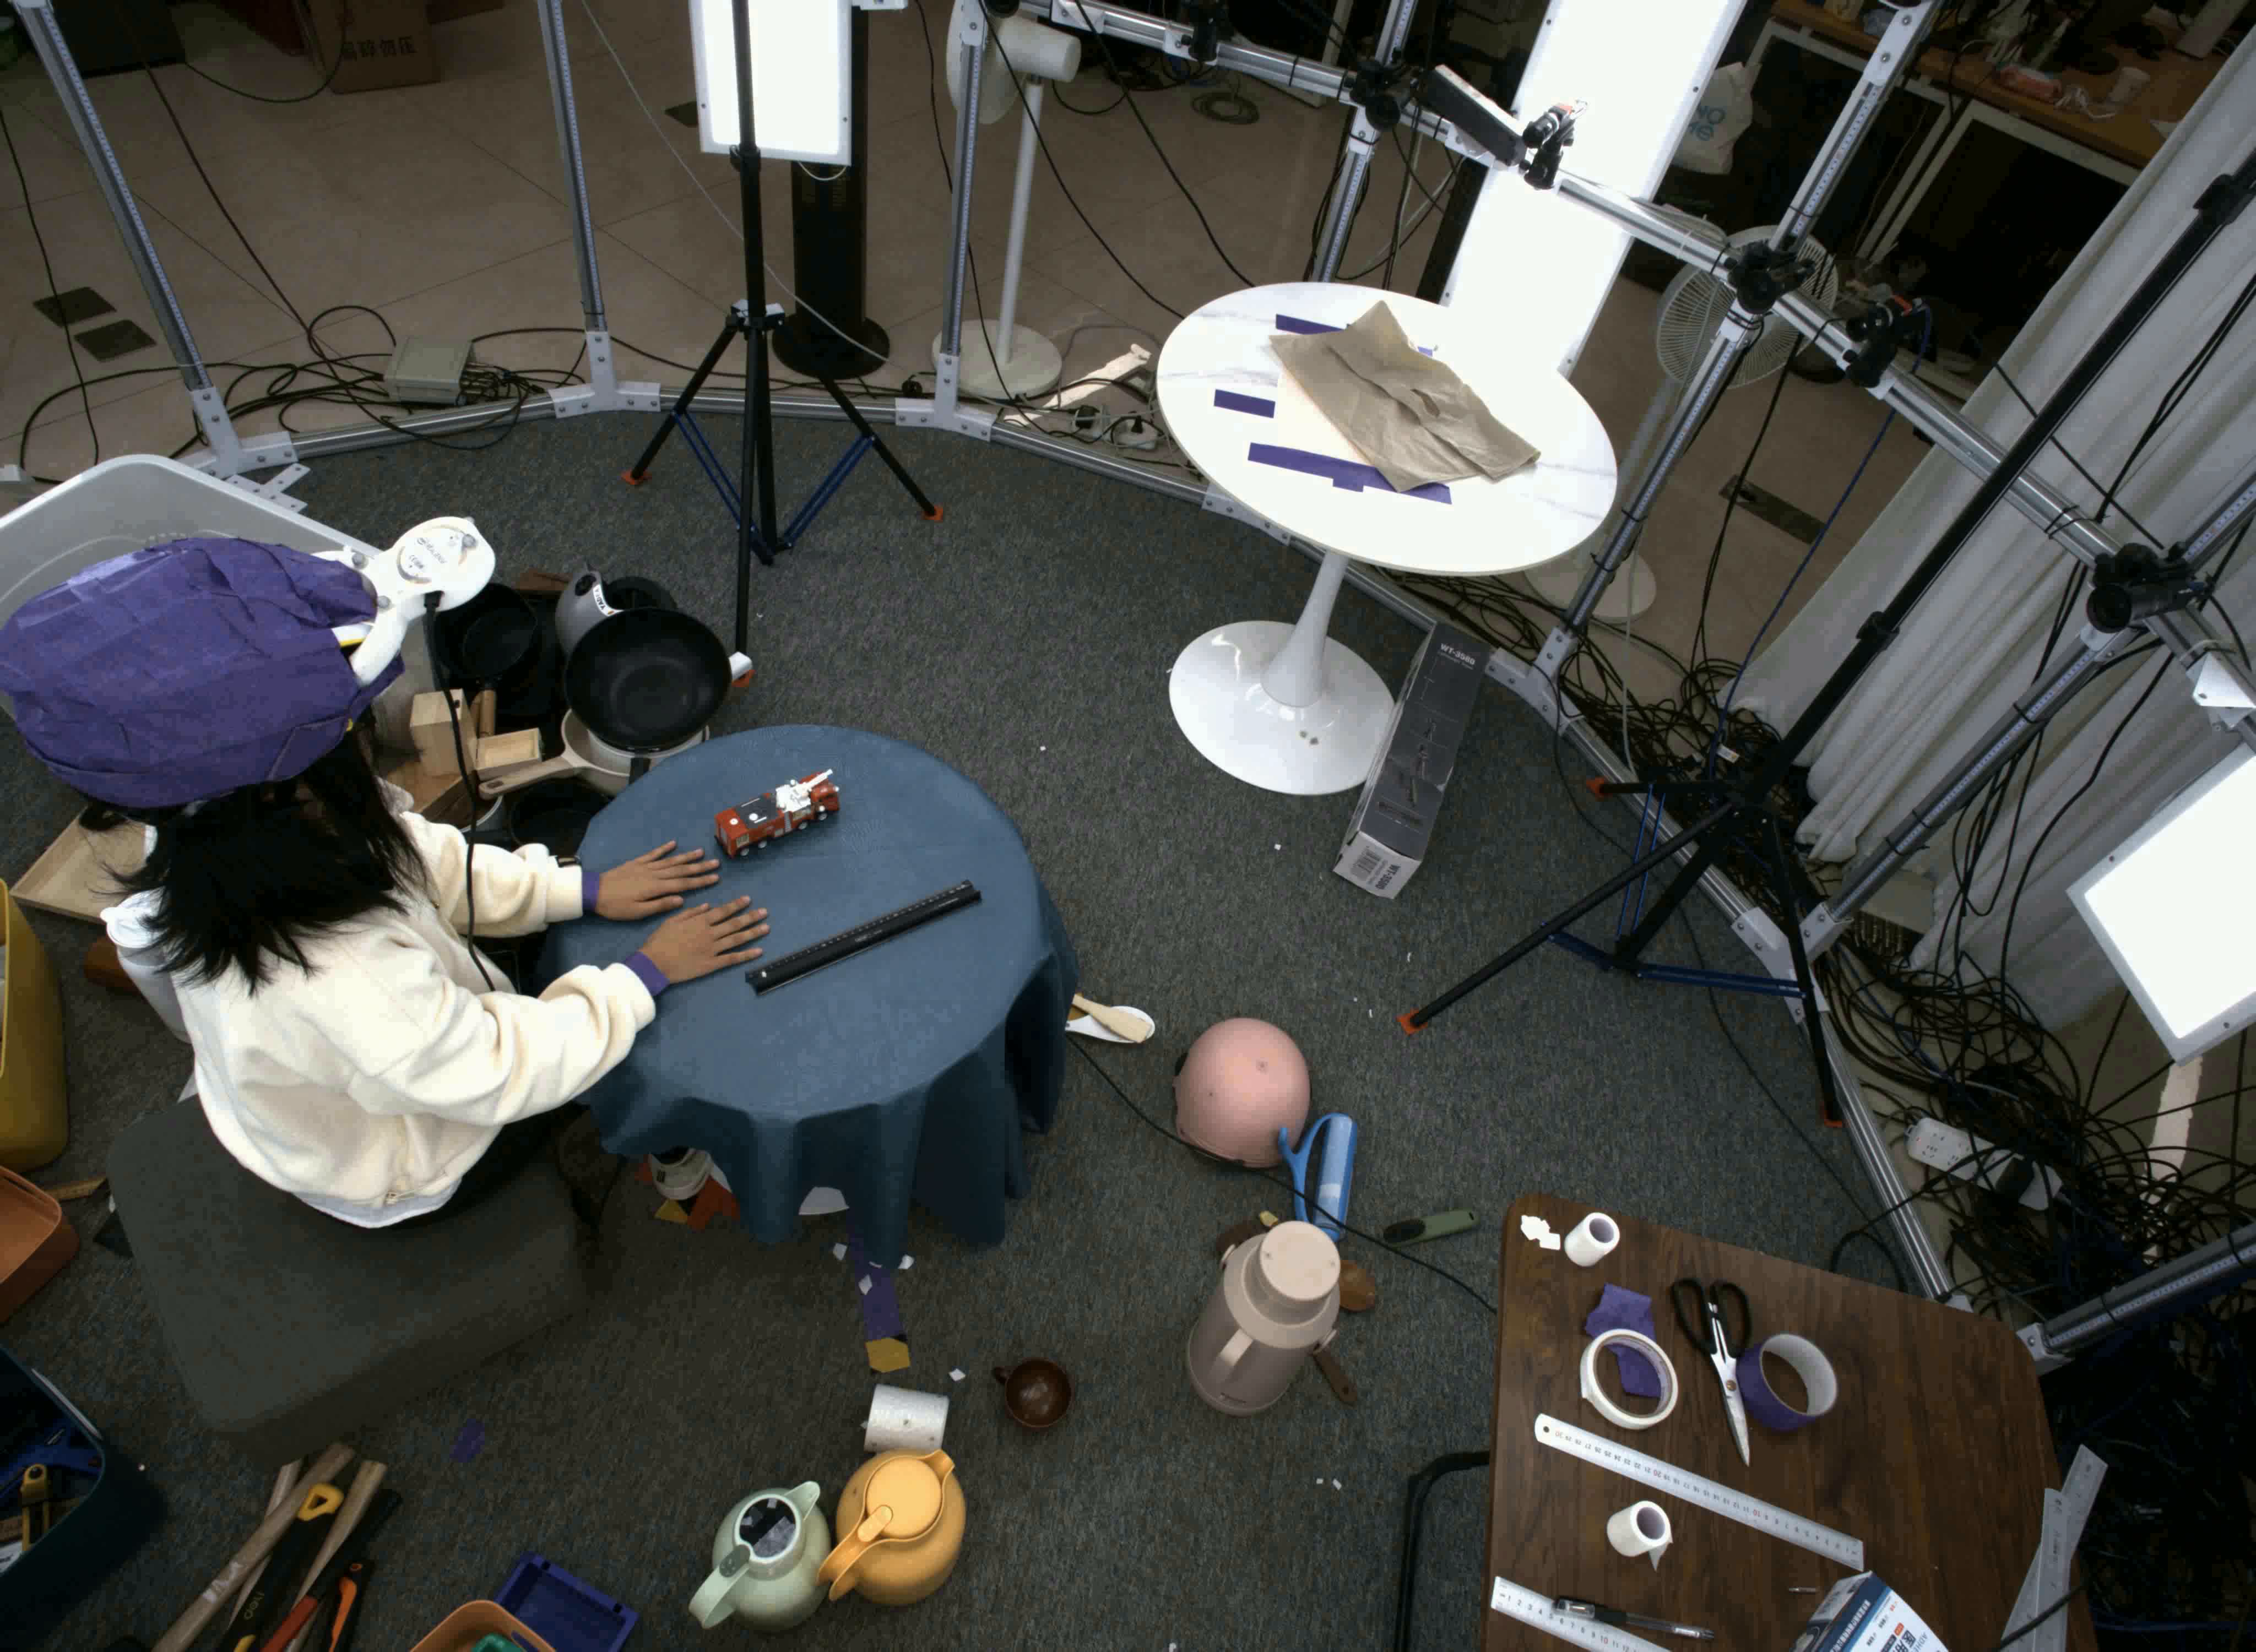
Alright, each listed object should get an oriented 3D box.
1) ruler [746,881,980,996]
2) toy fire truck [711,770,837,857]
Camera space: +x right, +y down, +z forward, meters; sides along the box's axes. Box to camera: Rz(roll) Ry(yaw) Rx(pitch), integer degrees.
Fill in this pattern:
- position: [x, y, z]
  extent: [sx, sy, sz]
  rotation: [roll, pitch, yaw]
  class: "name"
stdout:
- position: [-0.328, 0.131, 1.635]
  extent: [0.314, 0.017, 0.038]
  rotation: [-23, 58, -28]
  class: "ruler"
- position: [-0.459, -0.019, 1.687]
  extent: [0.168, 0.071, 0.053]
  rotation: [-28, 65, -28]
  class: "toy fire truck"
